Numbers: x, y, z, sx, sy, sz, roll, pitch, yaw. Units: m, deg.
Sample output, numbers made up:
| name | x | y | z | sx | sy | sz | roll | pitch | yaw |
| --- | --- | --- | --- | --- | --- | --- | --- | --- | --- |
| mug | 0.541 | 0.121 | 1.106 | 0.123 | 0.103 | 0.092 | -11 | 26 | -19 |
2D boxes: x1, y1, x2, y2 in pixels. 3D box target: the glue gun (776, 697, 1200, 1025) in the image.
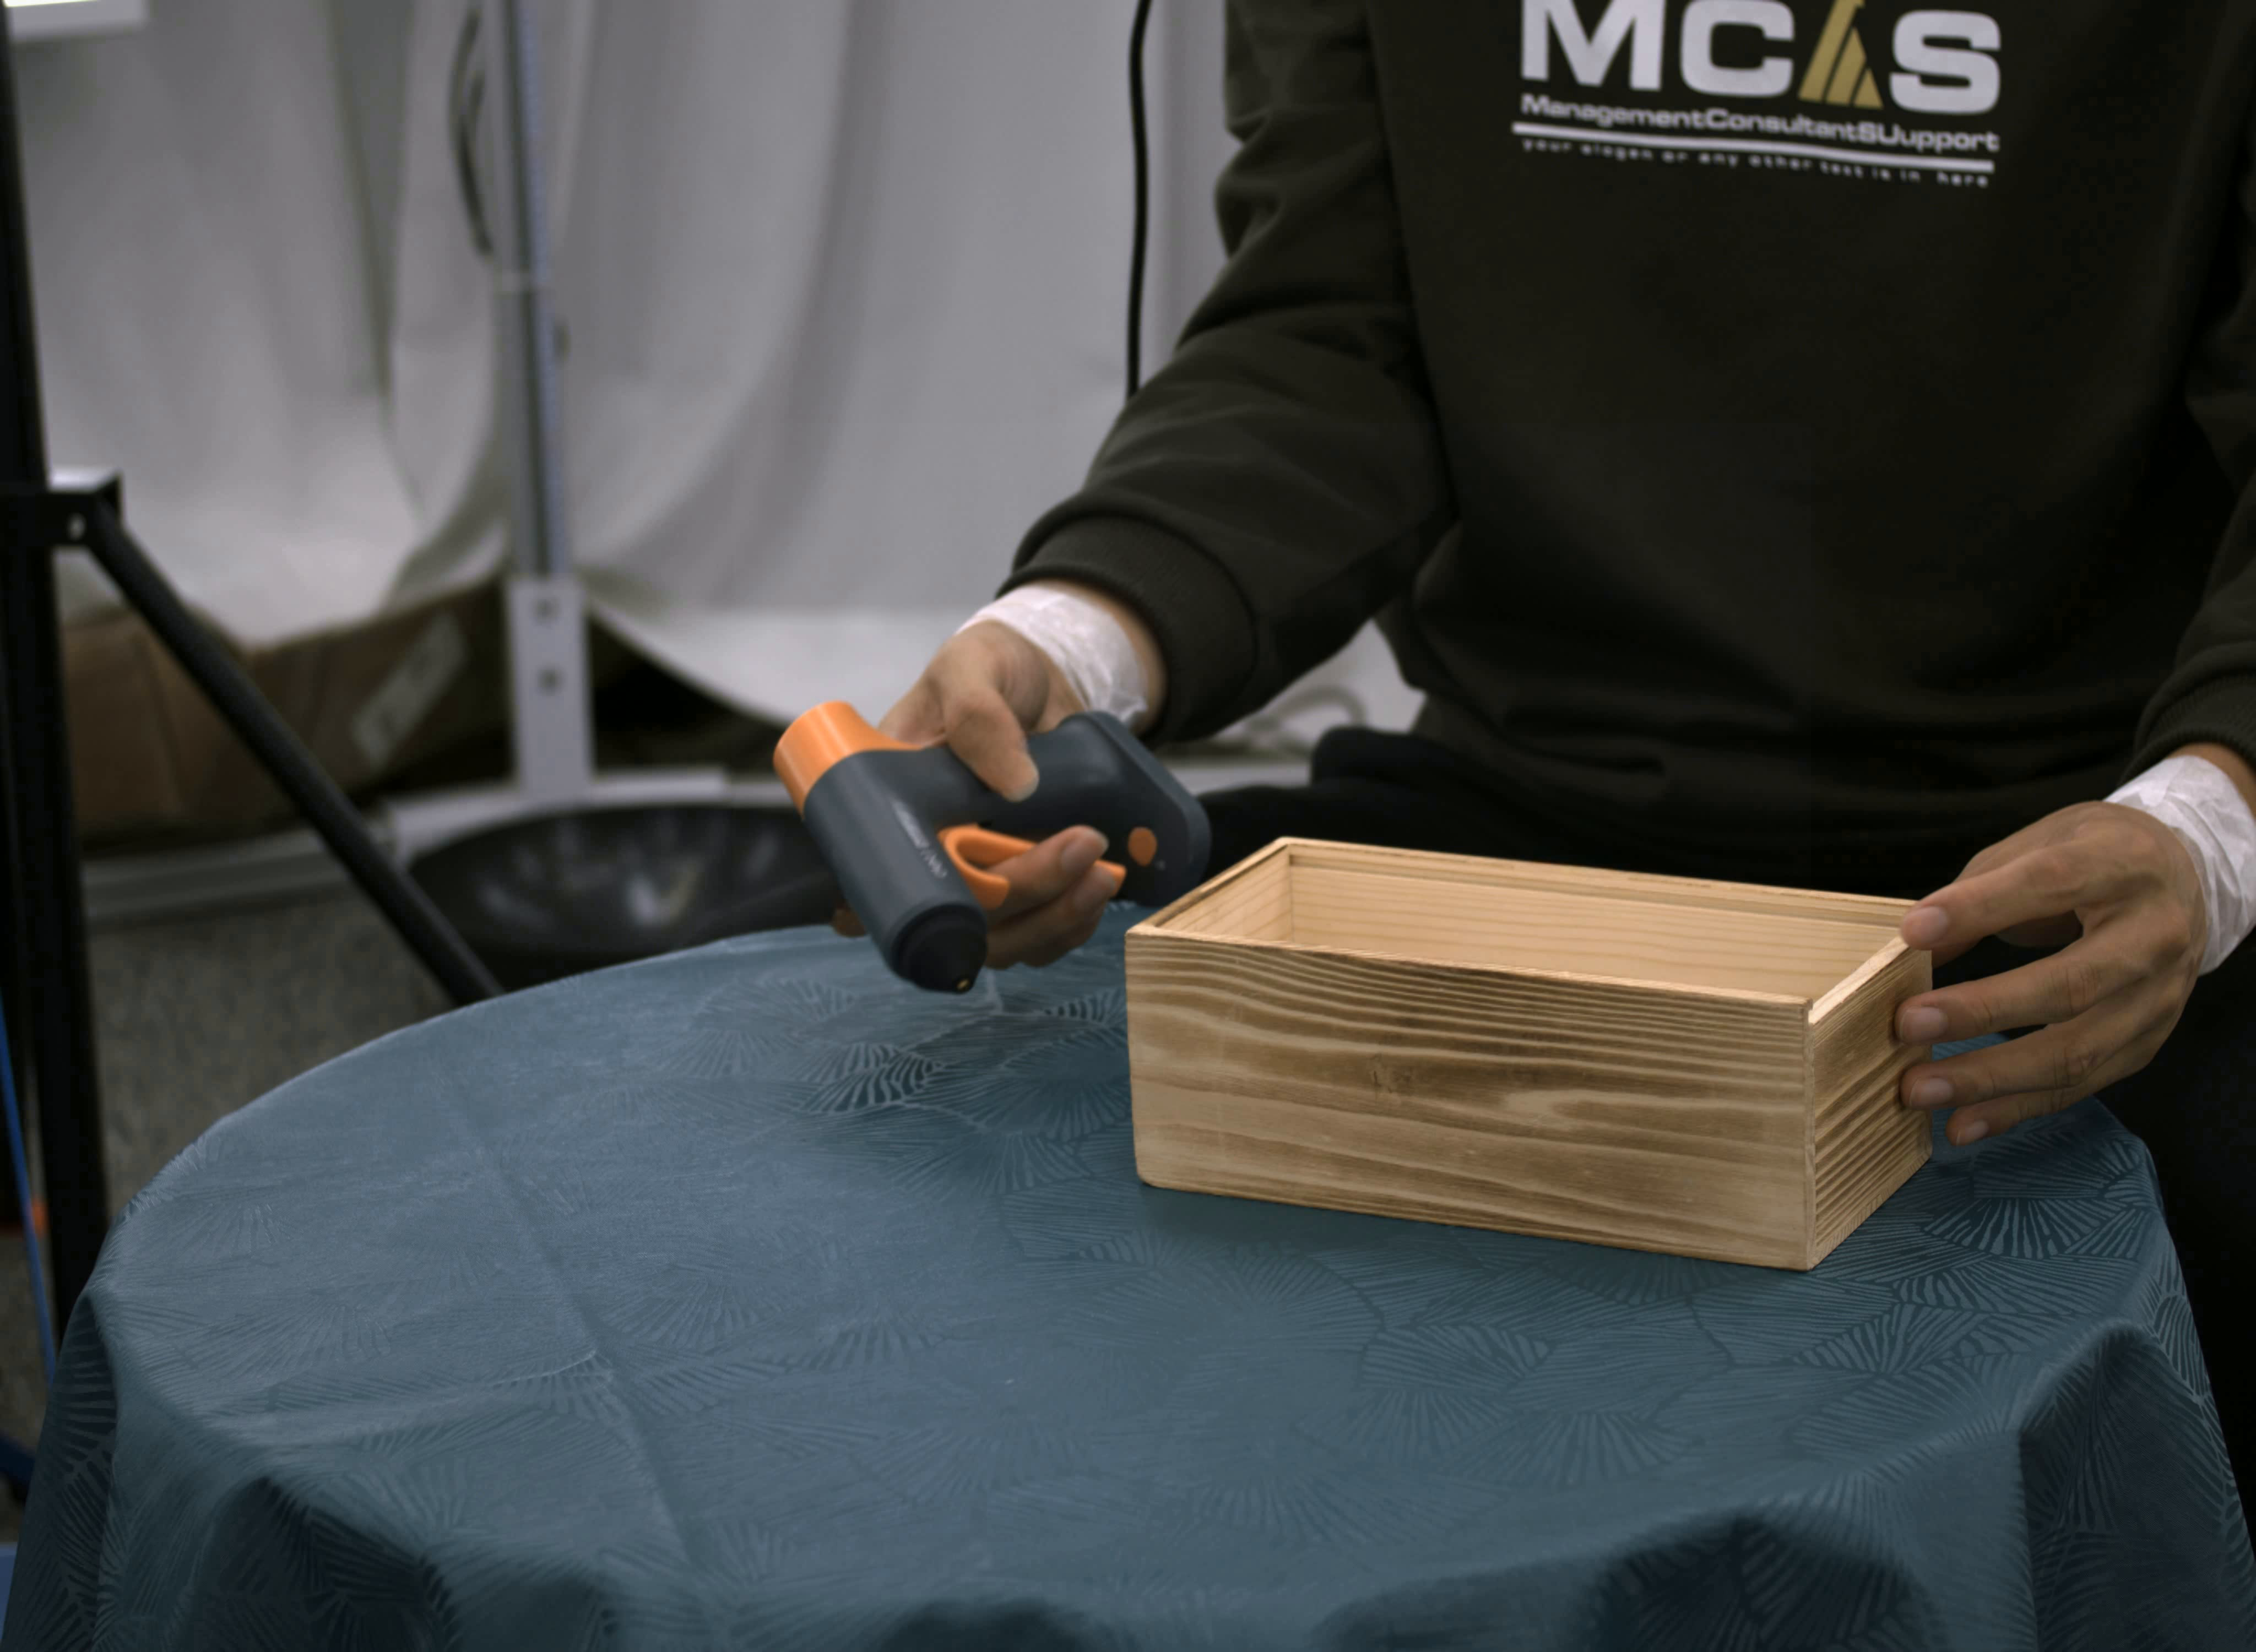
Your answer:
| name | x | y | z | sx | sy | sz | roll | pitch | yaw |
| --- | --- | --- | --- | --- | --- | --- | --- | --- | --- |
| glue gun | -0.045 | 0.009 | 1.674 | 0.136 | 0.041 | 0.120 | -10 | 53 | -44 |

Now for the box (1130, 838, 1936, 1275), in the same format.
| name | x | y | z | sx | sy | sz | roll | pitch | yaw |
| --- | --- | --- | --- | --- | --- | --- | --- | --- | --- |
| box | 0.118 | 0.065 | 1.546 | 0.215 | 0.080 | 0.105 | 6 | 16 | 28 |
